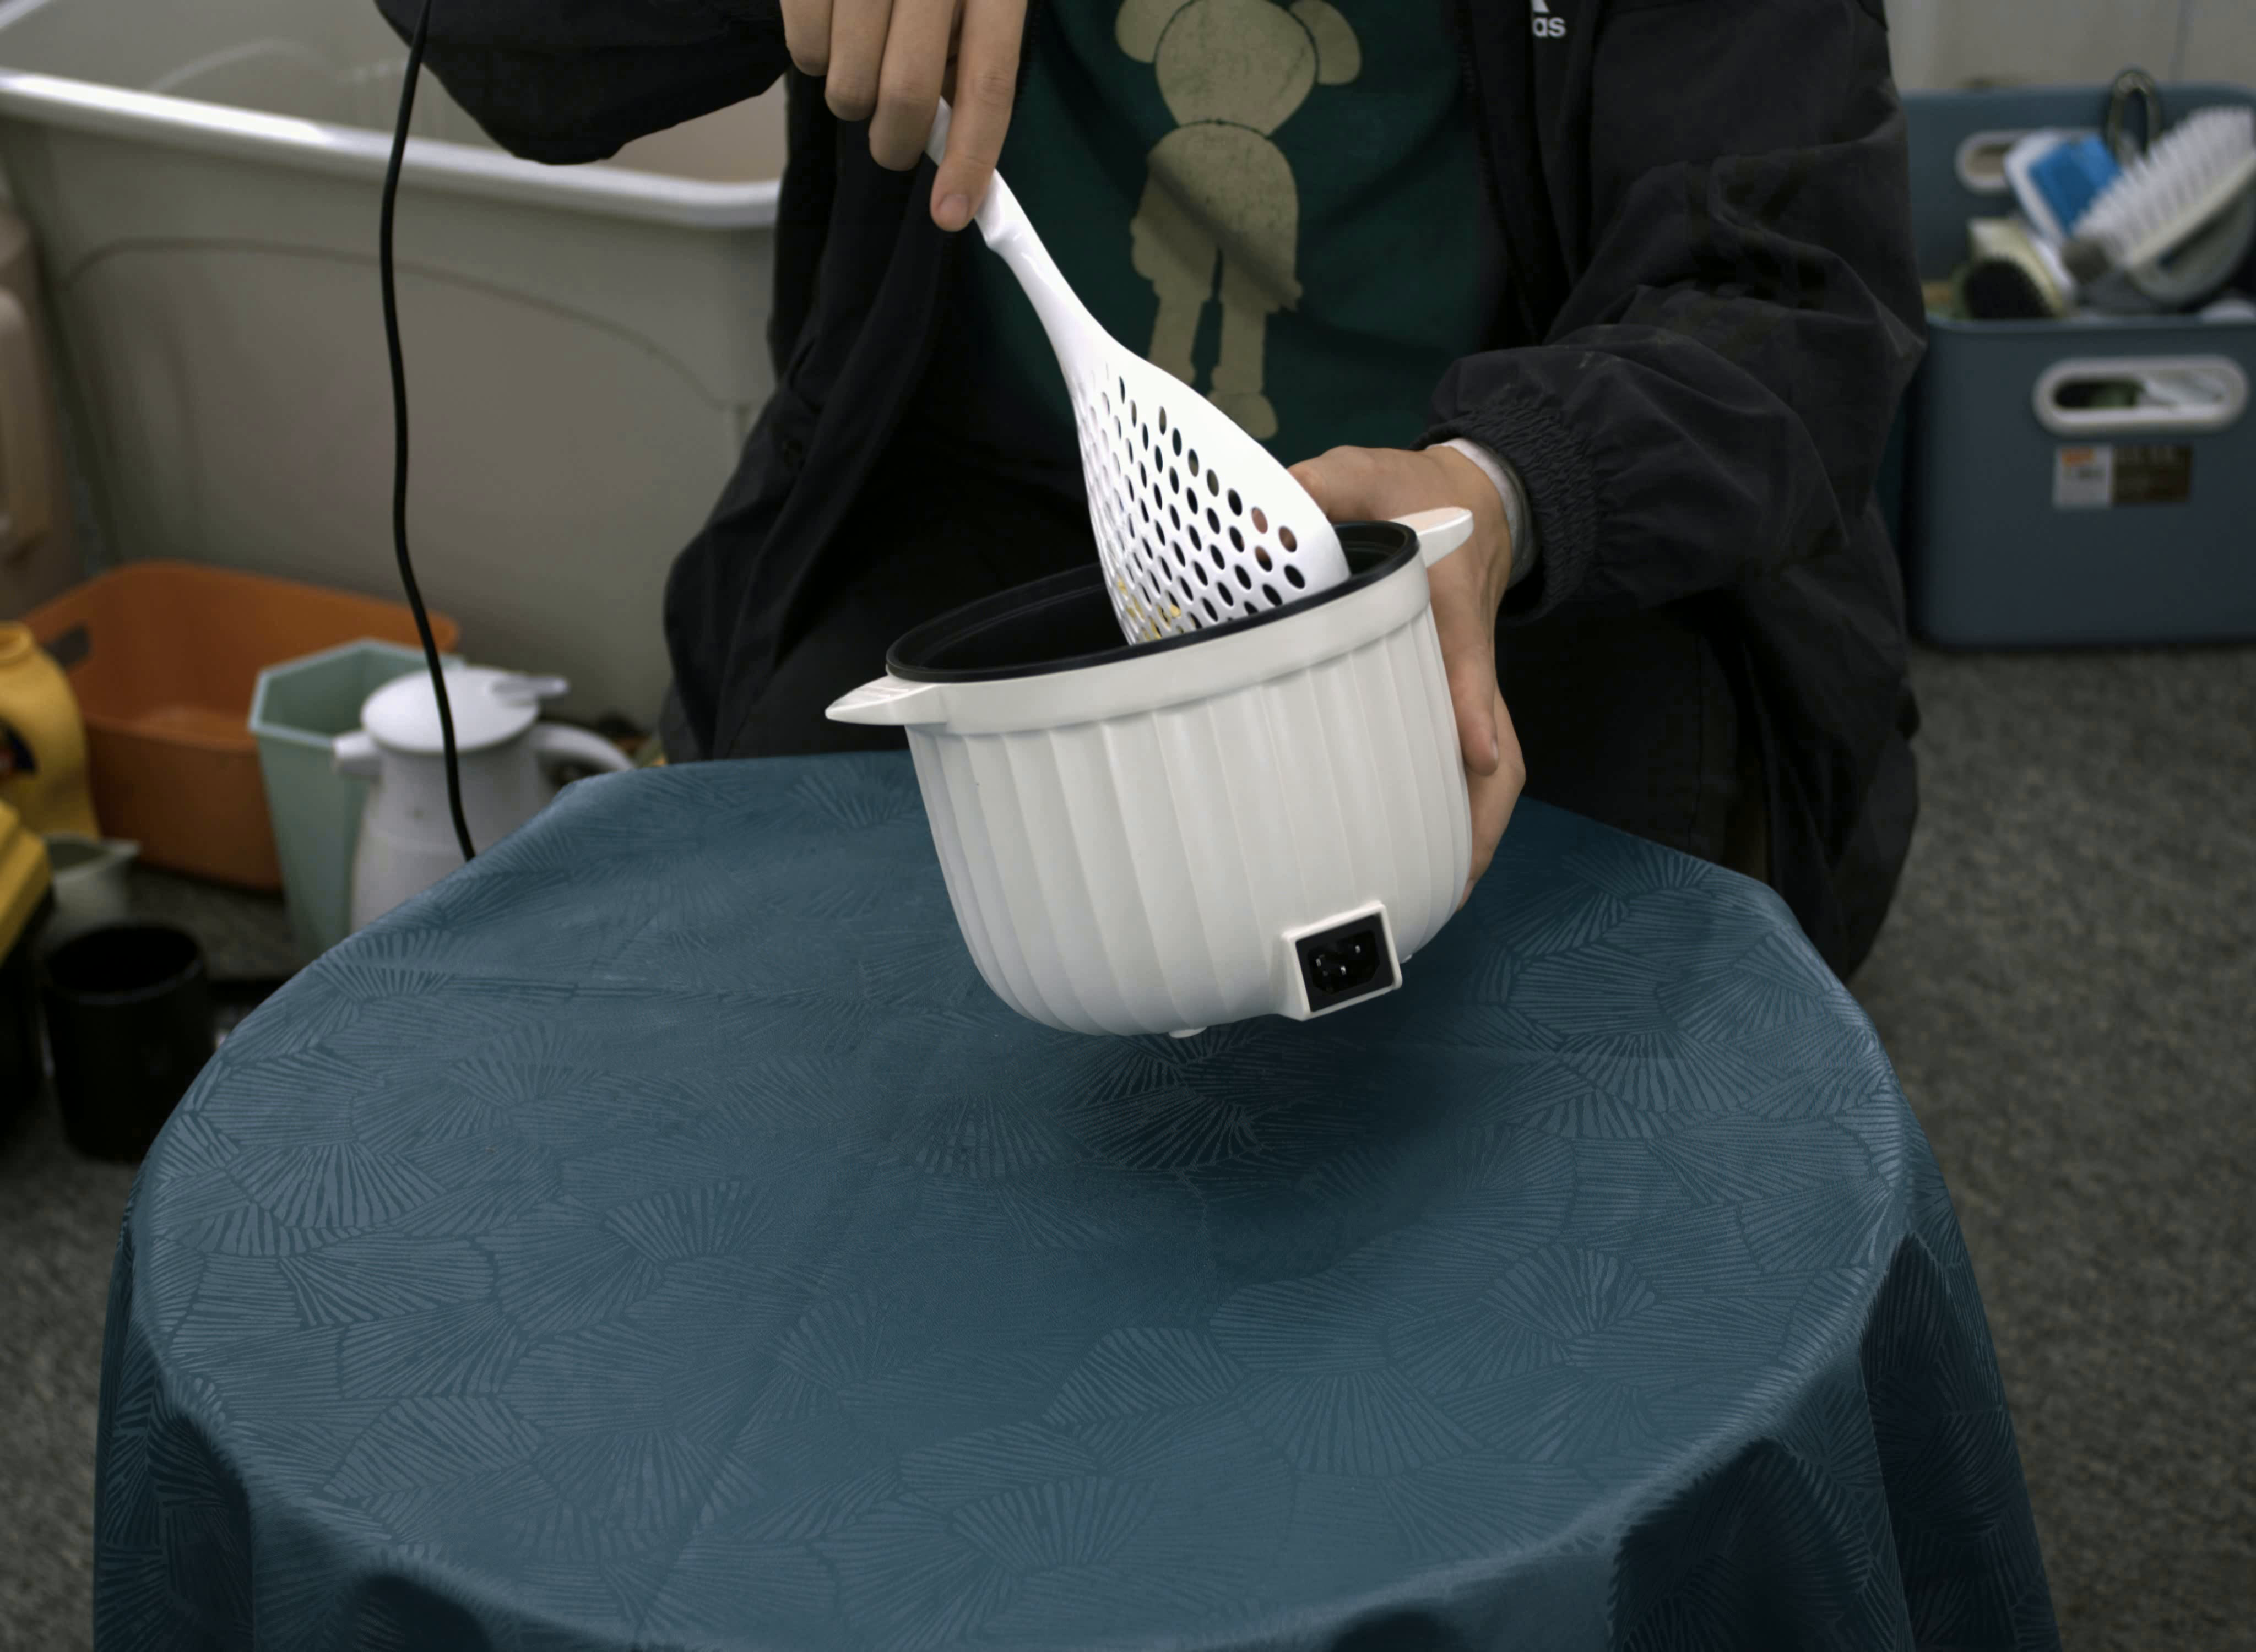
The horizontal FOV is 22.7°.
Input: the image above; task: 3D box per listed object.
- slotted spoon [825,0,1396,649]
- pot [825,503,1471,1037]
[{"bbox_3d":[-0.018,-0.158,1.905,0.050,0.134,0.351,-17,69,-28],"label":"slotted spoon"},{"bbox_3d":[0.019,-0.014,1.871,0.242,0.142,0.190,-17,14,-23],"label":"pot"}]
